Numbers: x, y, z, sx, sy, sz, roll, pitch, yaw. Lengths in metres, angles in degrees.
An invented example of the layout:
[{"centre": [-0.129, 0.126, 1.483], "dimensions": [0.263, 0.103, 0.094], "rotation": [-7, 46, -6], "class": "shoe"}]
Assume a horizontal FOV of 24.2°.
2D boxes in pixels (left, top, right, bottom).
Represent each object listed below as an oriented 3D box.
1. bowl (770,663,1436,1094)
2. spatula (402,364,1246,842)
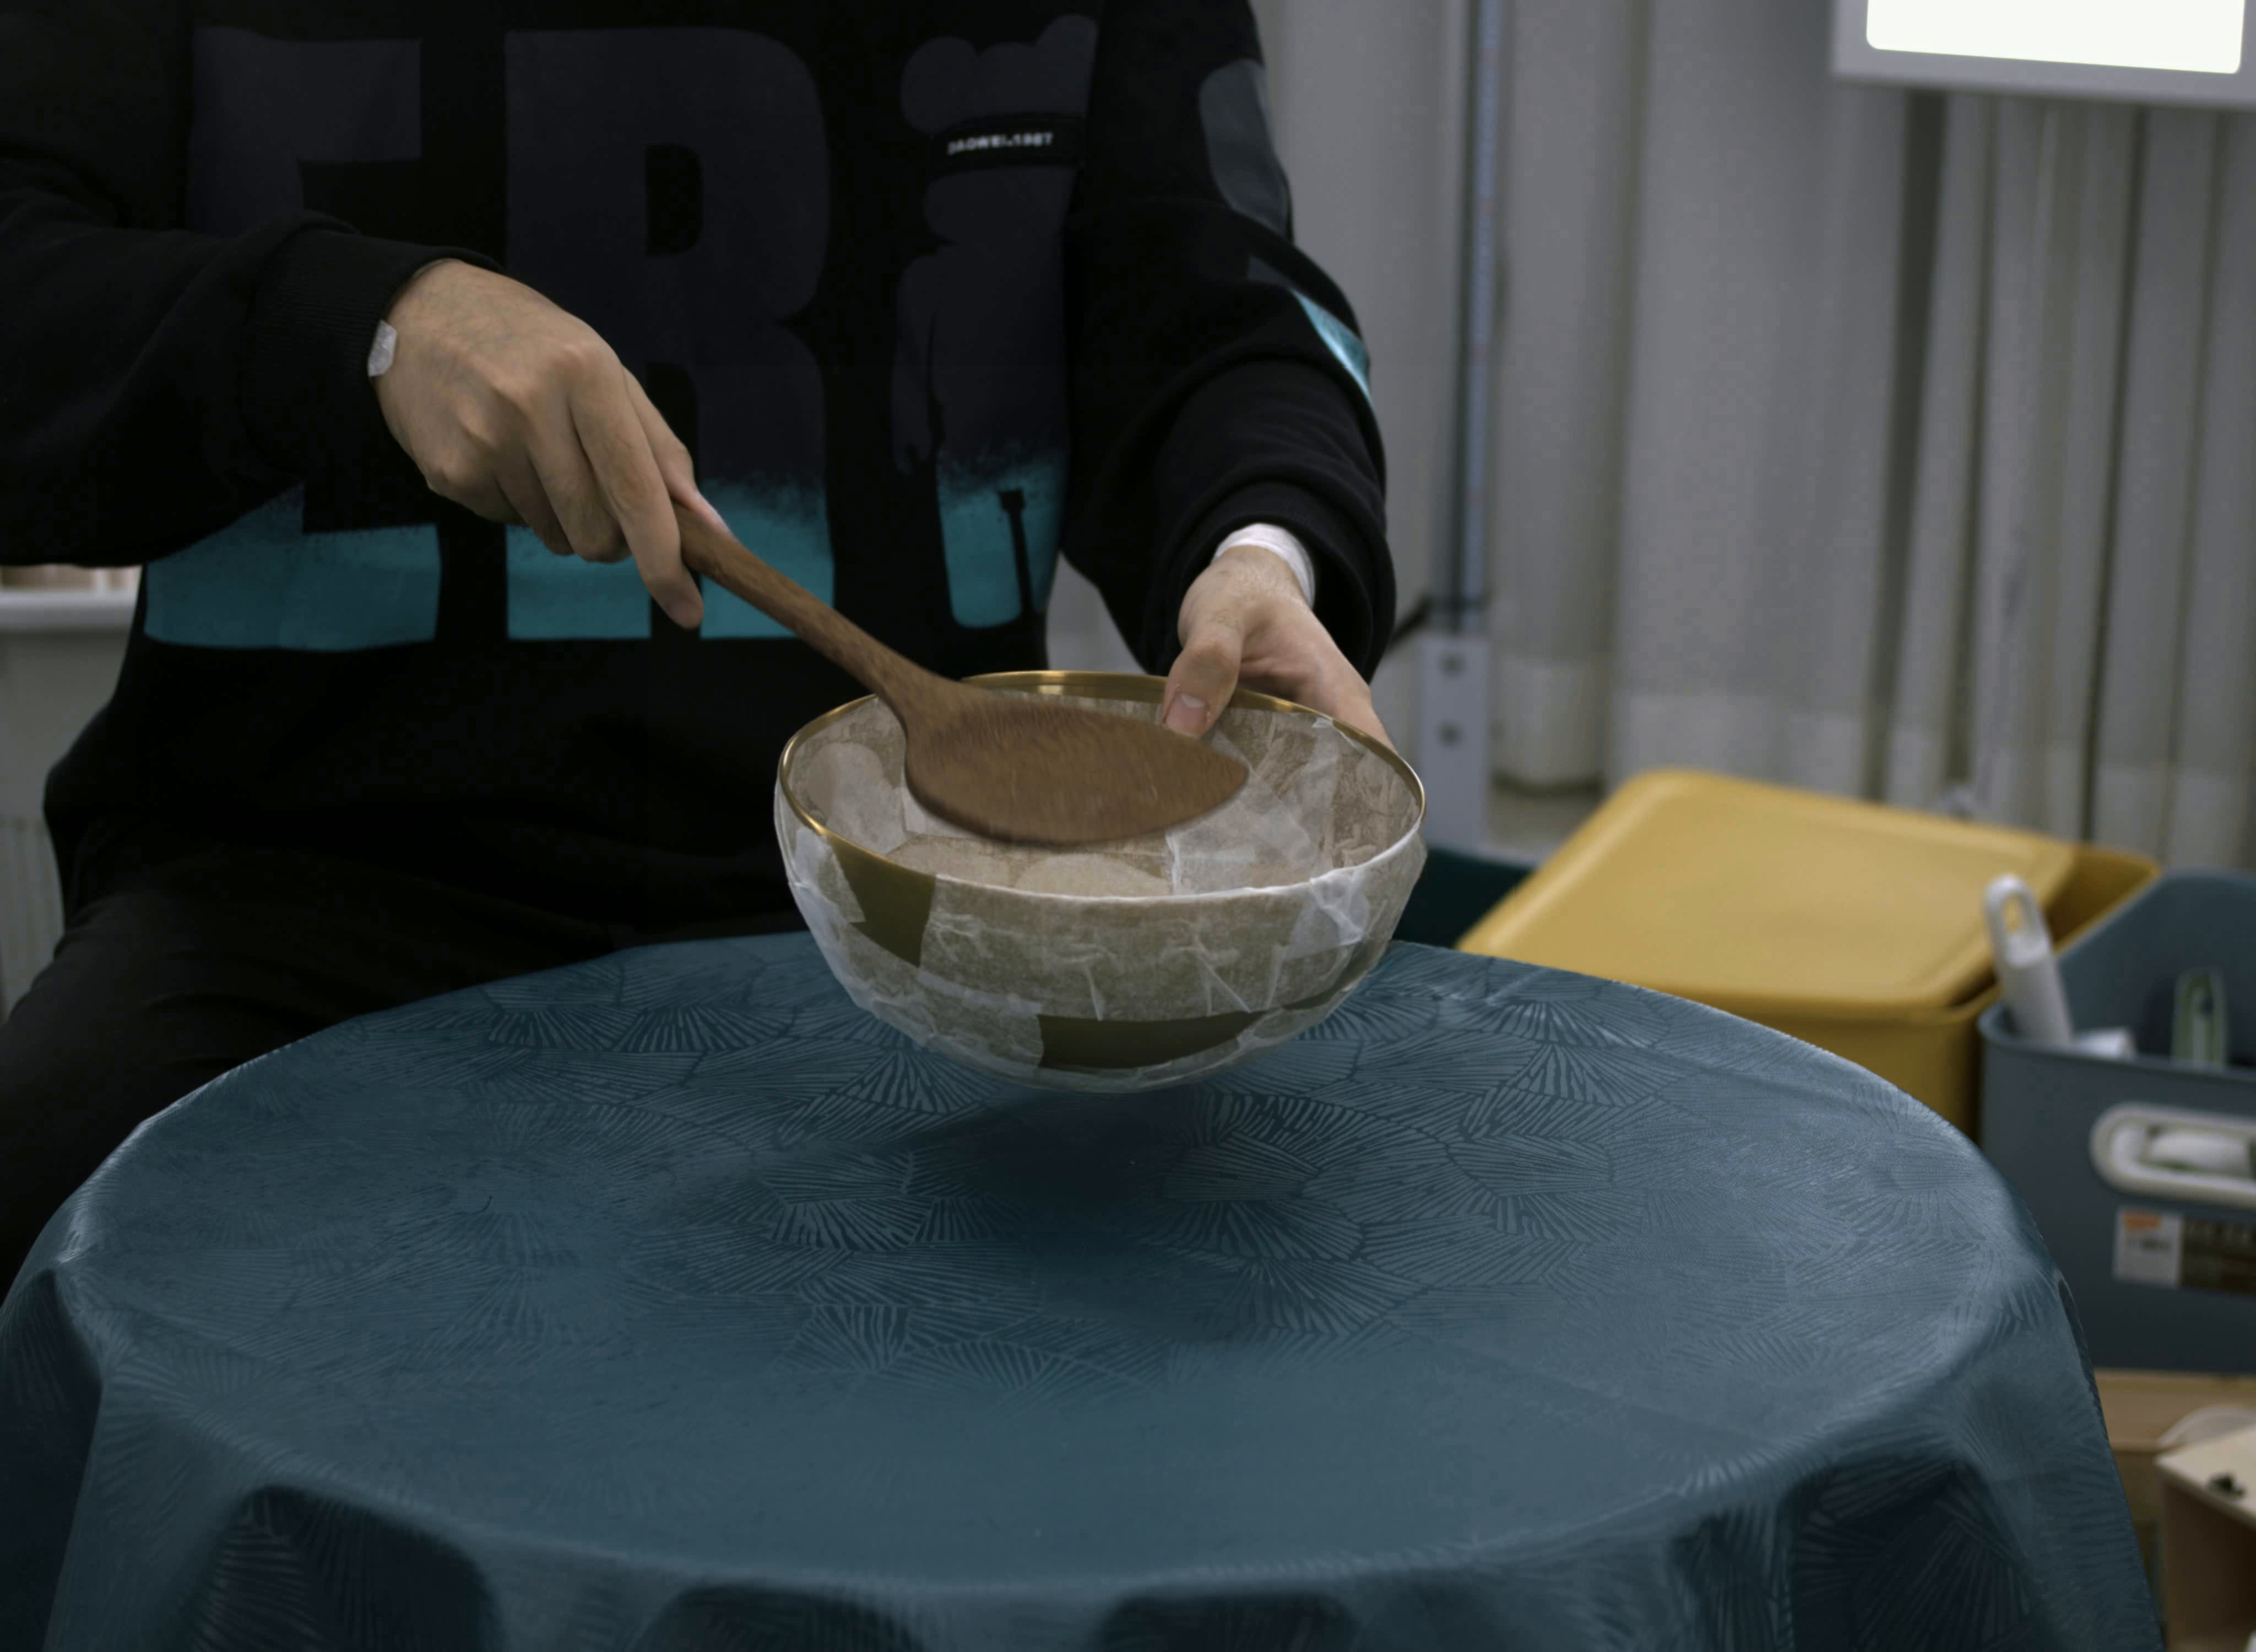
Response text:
[{"centre": [-0.008, 0.025, 1.626], "dimensions": [0.214, 0.095, 0.213], "rotation": [2, 21, 0], "class": "bowl"}, {"centre": [-0.116, -0.078, 1.664], "dimensions": [0.096, 0.016, 0.380], "rotation": [-18, 37, -39], "class": "spatula"}]
